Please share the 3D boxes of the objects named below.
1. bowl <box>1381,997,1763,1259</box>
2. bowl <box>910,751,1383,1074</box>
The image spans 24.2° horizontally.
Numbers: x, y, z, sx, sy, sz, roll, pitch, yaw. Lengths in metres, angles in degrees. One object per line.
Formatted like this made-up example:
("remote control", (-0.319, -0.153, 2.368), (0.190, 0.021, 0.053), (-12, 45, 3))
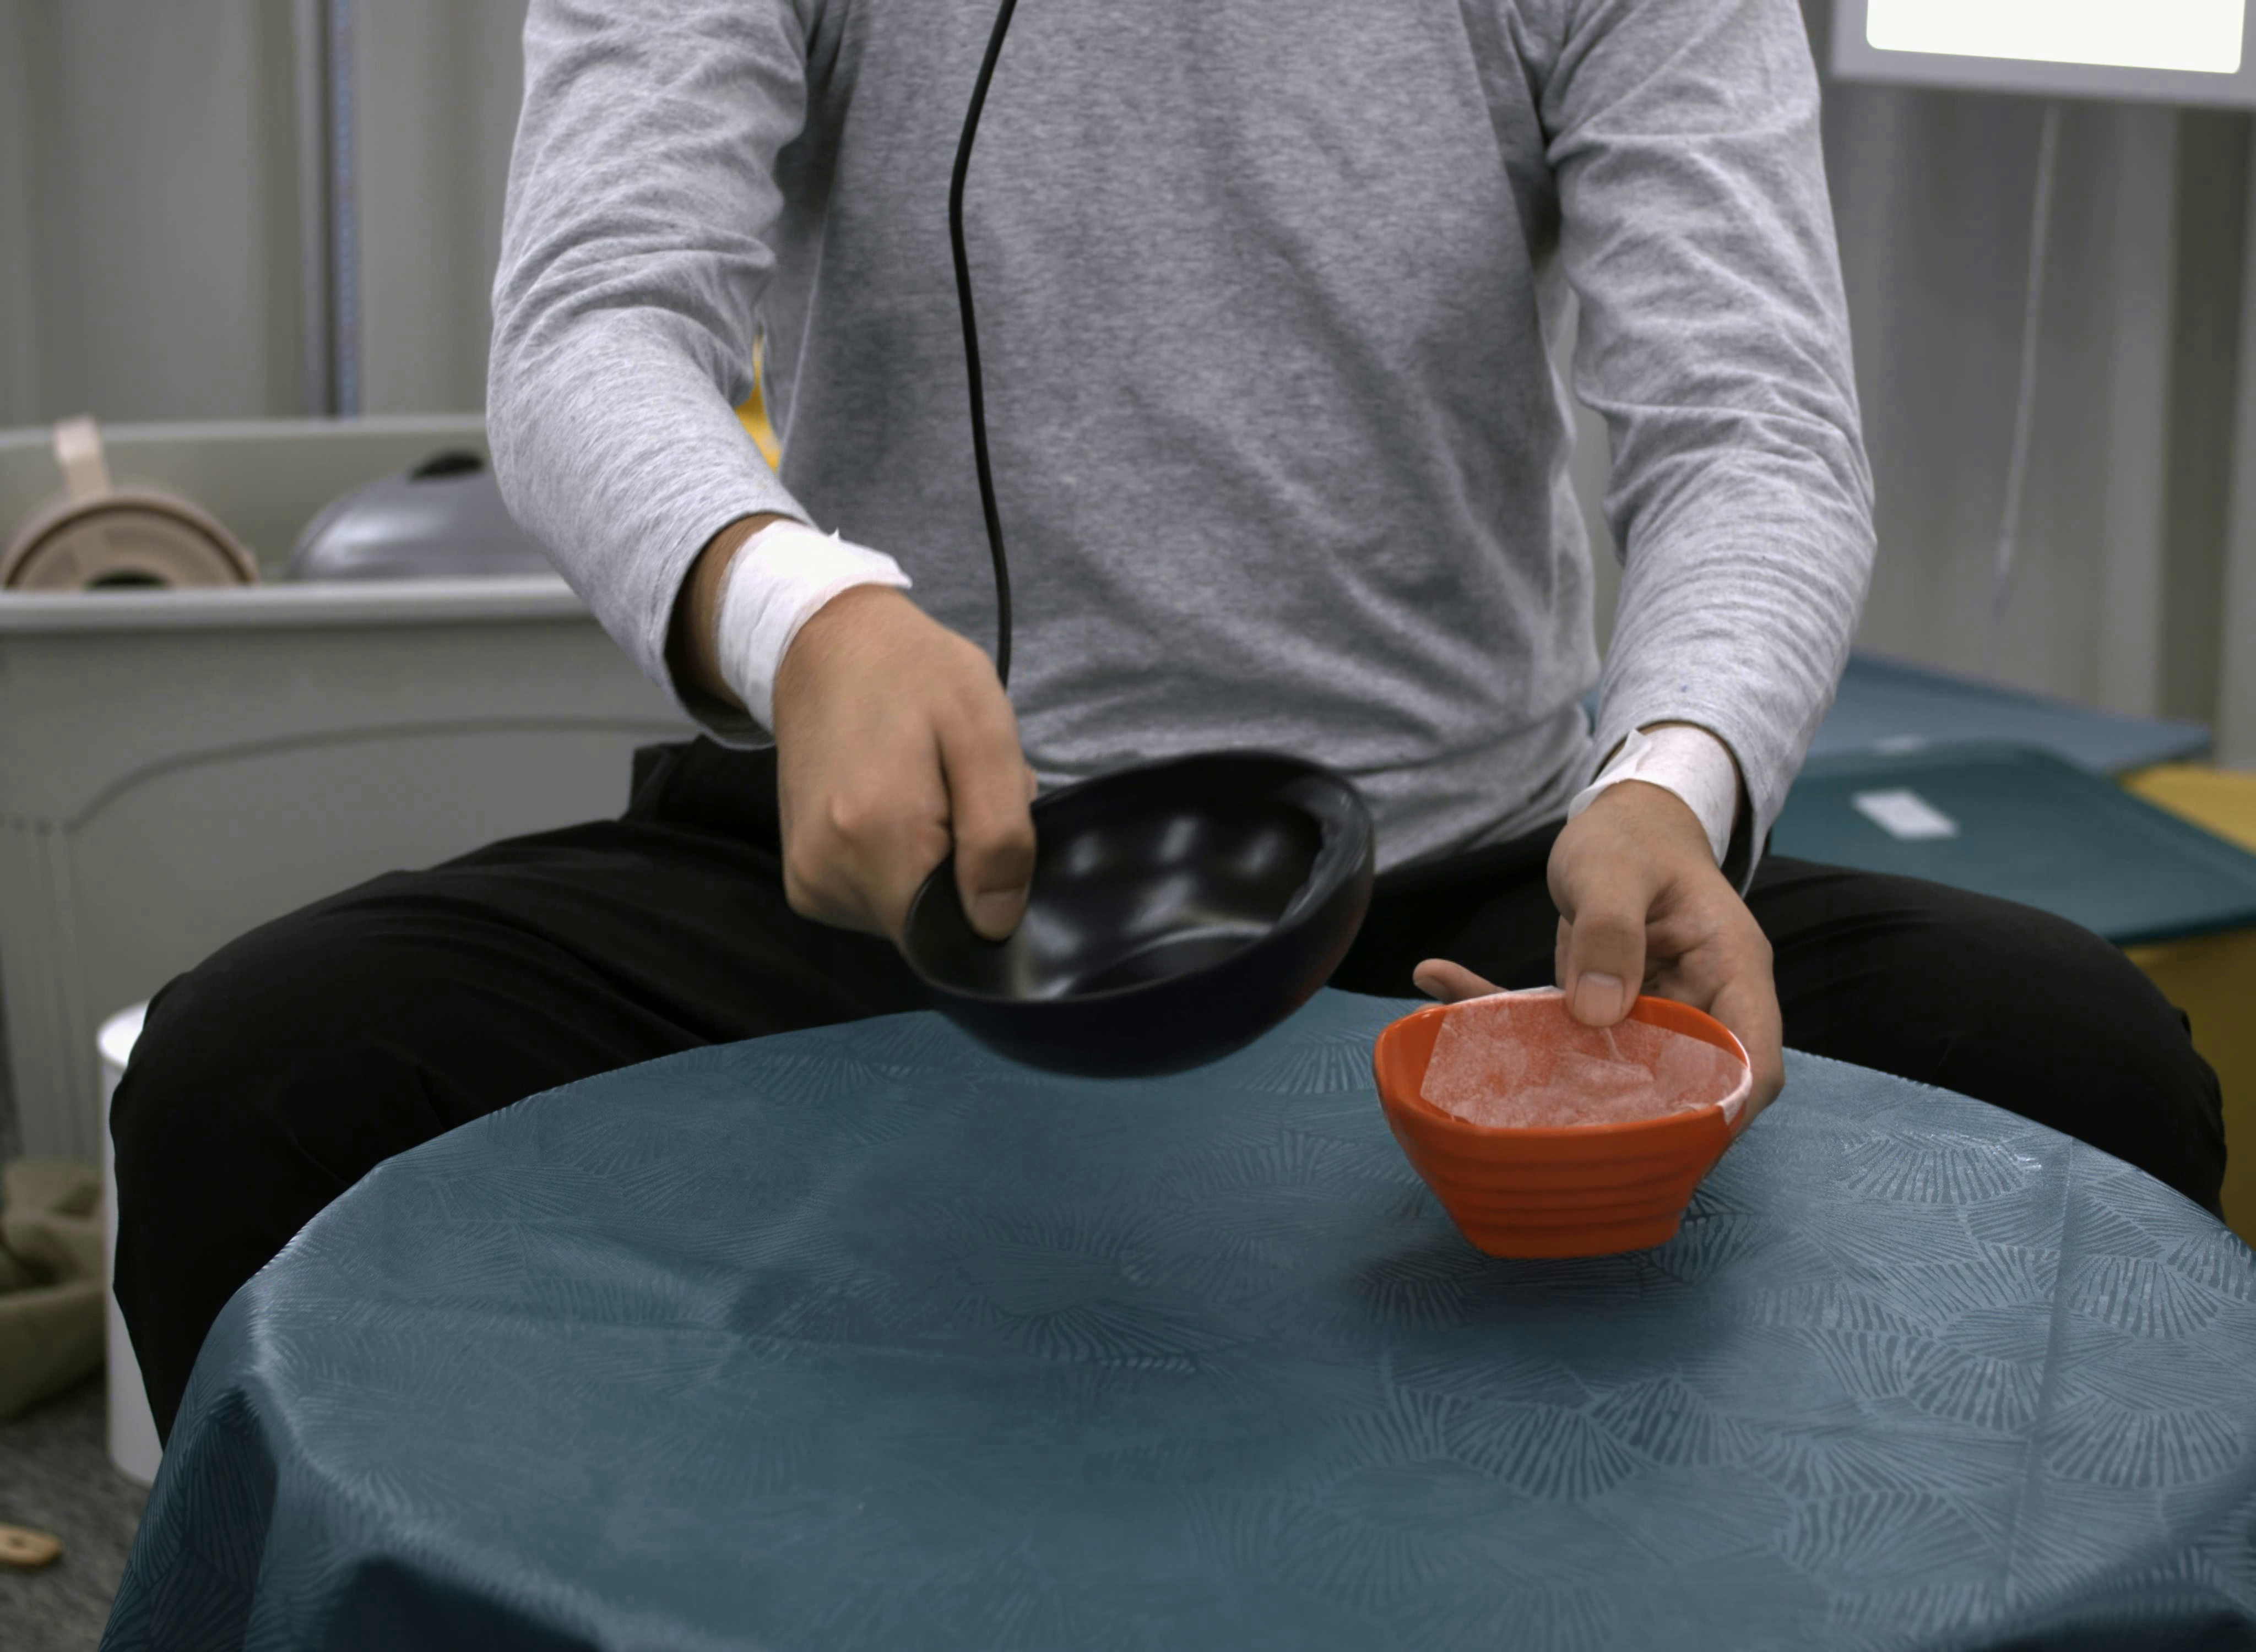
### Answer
("bowl", (0.131, 0.091, 1.555), (0.118, 0.052, 0.118), (-2, 17, 1))
("bowl", (0.011, 0.032, 1.495), (0.139, 0.050, 0.139), (-15, 22, 7))
